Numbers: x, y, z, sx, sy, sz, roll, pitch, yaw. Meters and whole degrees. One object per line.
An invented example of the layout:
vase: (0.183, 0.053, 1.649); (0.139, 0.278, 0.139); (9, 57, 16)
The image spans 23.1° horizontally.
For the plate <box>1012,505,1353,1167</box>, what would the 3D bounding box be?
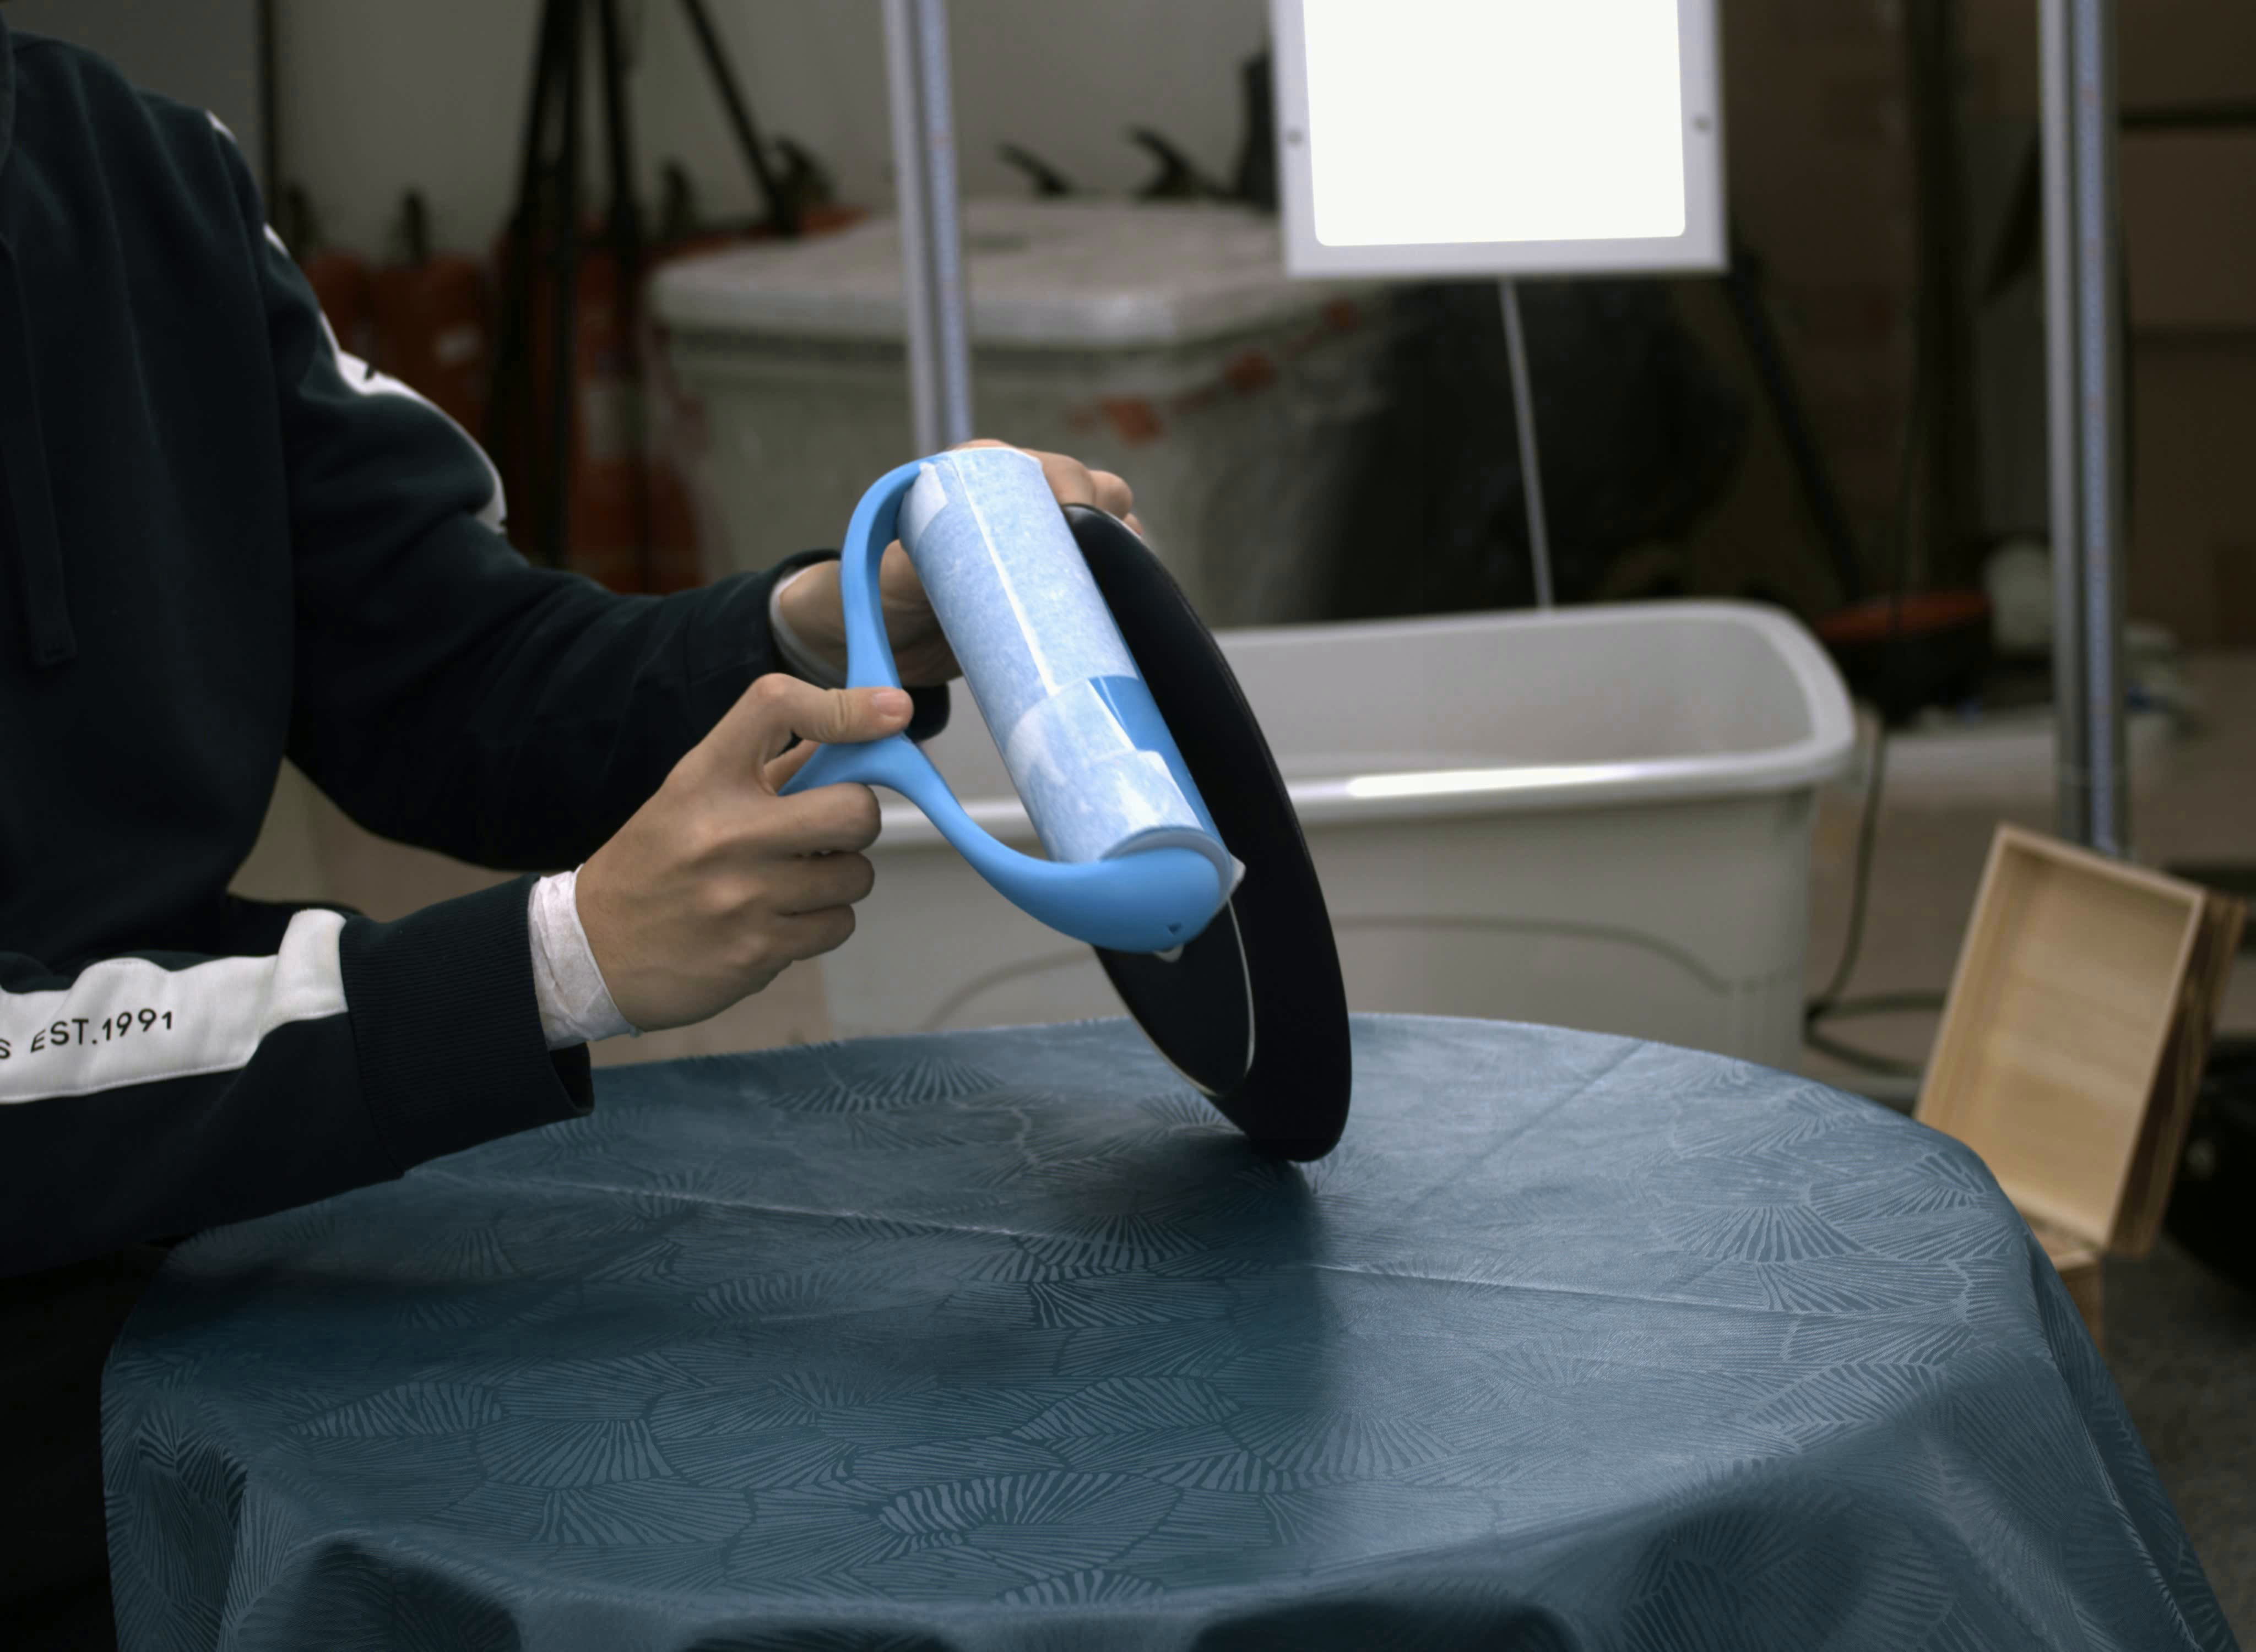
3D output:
plate: (0.009, 0.007, 1.890); (0.023, 0.244, 0.248); (-22, 18, -17)

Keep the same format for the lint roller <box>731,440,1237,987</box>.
lint roller: (-0.069, -0.014, 1.805); (0.181, 0.067, 0.231); (-37, 46, 8)
